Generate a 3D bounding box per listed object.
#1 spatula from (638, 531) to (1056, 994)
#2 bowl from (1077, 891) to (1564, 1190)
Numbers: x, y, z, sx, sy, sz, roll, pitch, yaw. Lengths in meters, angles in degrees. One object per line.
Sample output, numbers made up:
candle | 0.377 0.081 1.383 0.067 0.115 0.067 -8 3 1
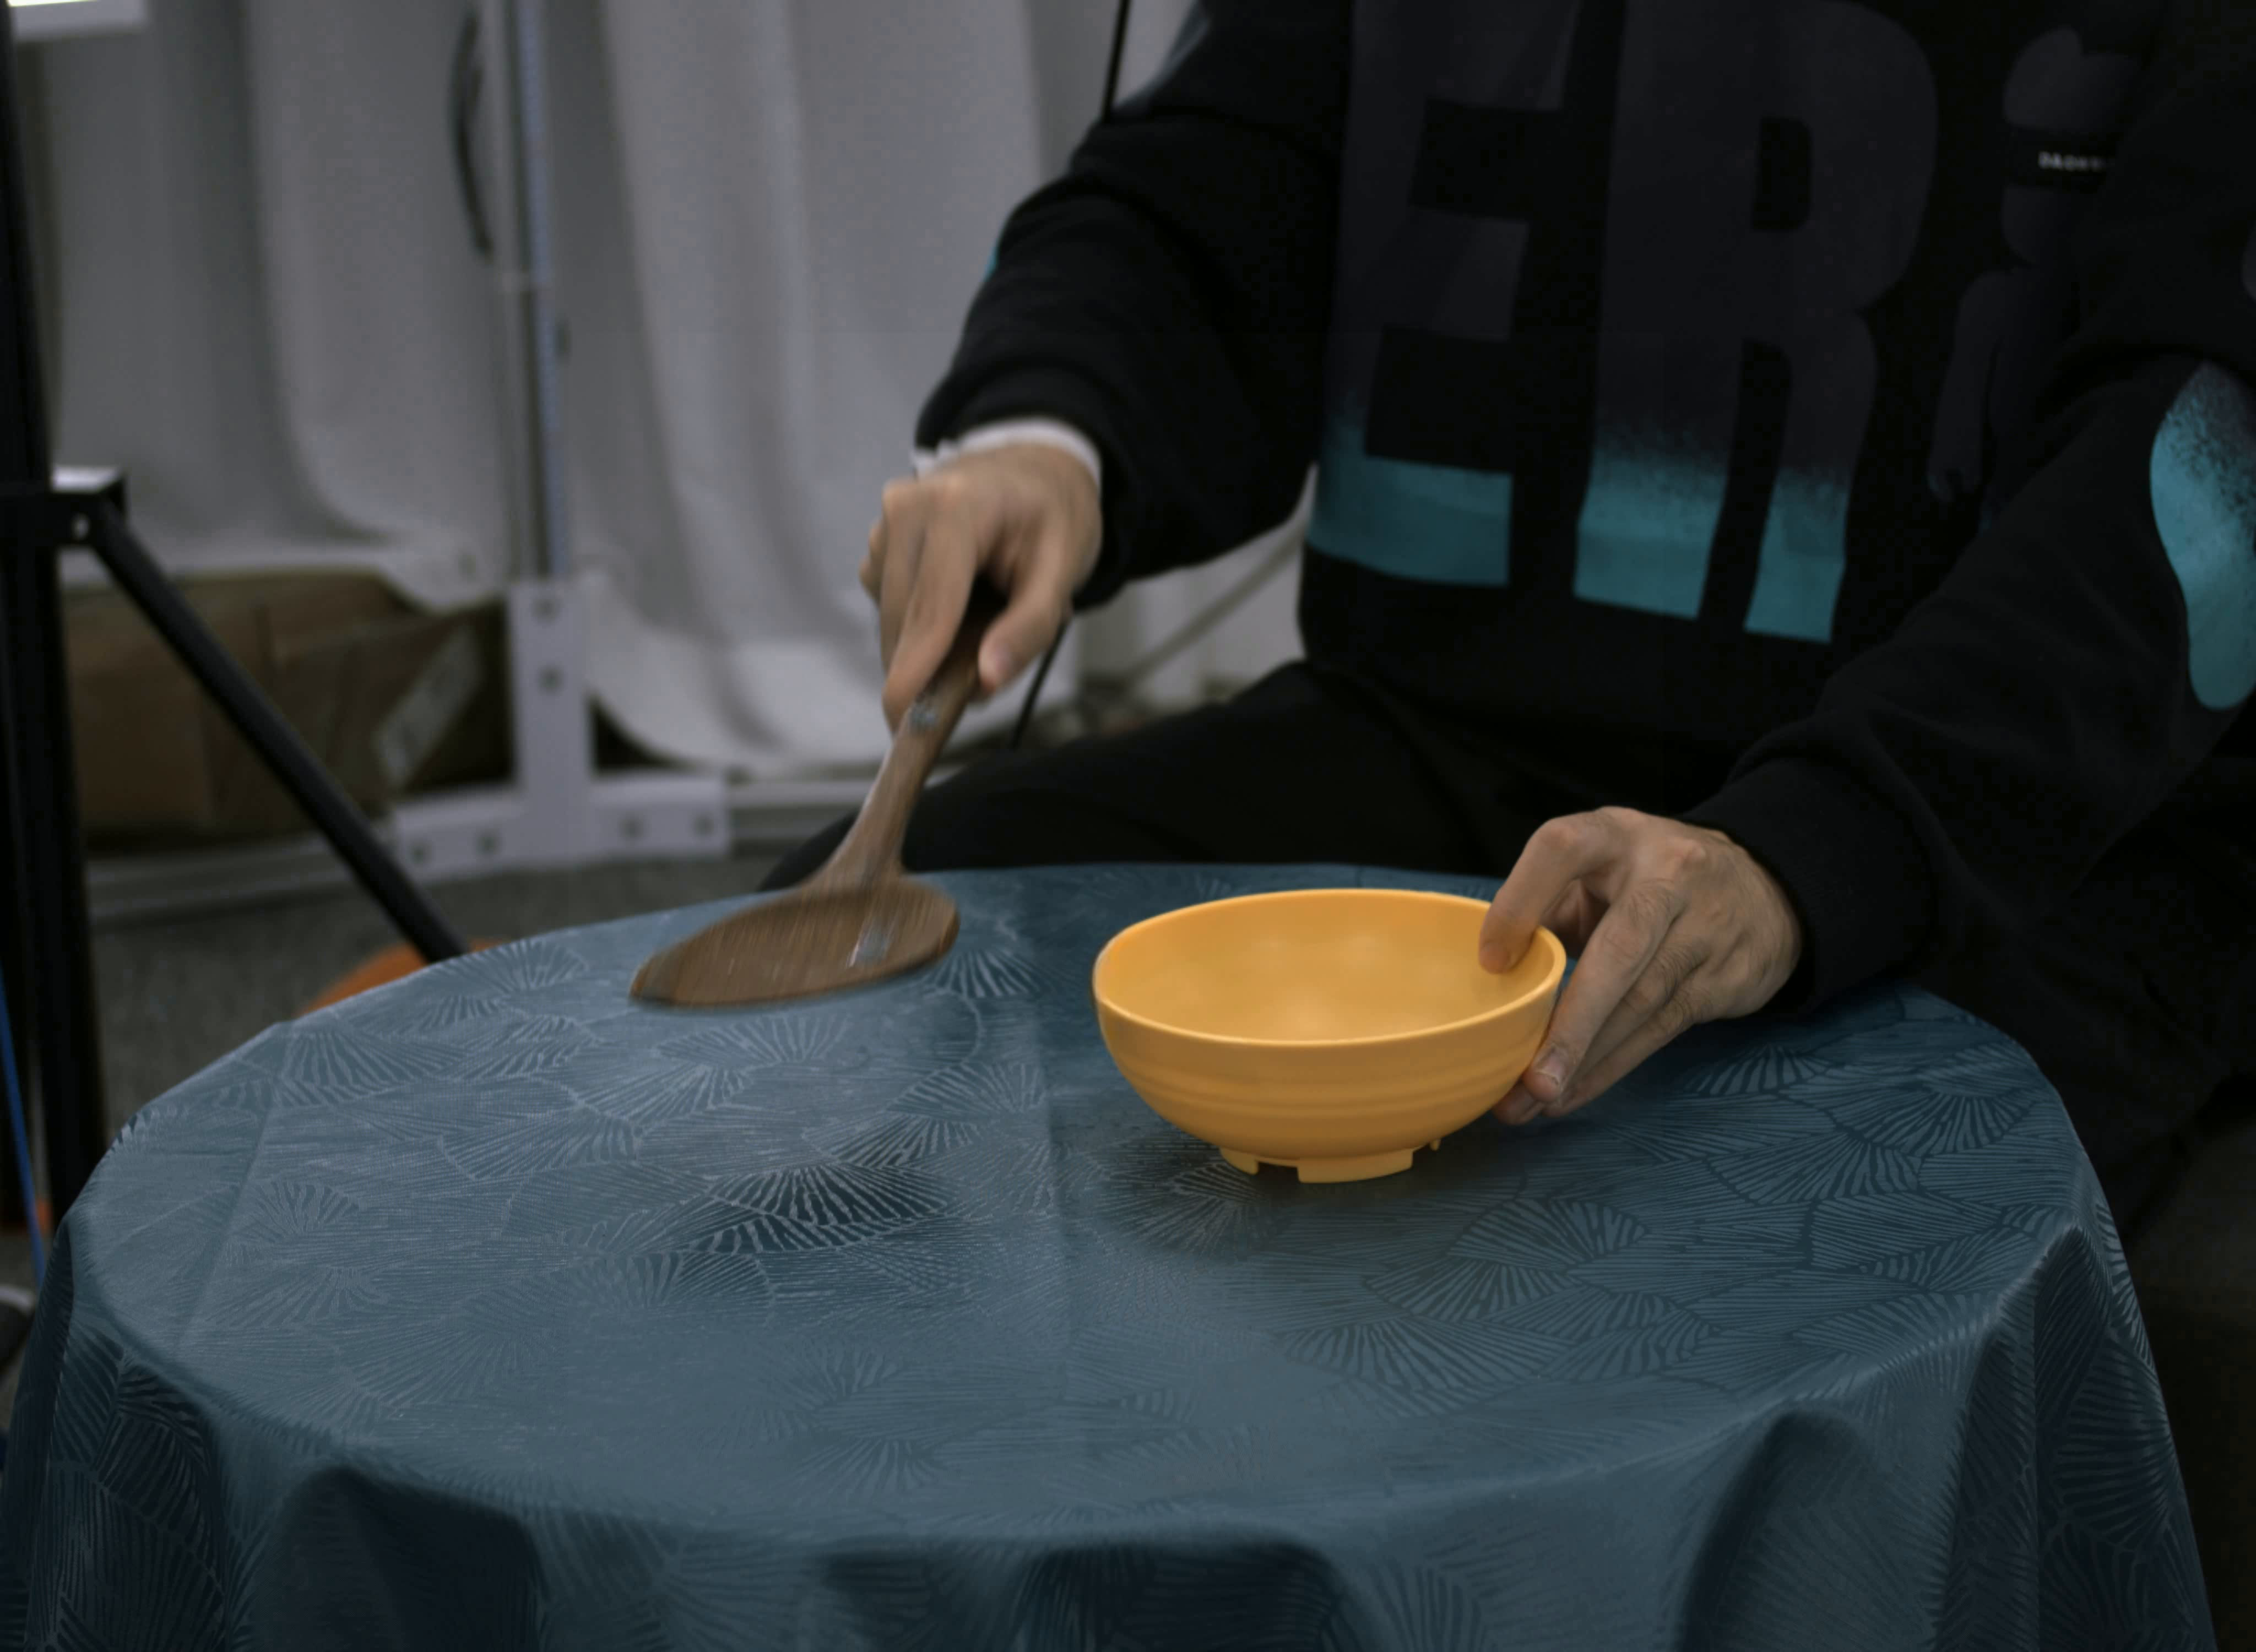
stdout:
spatula | -0.068 -0.028 1.687 0.097 0.016 0.385 -10 21 14
bowl | 0.057 0.070 1.581 0.144 0.060 0.146 -1 17 -1
